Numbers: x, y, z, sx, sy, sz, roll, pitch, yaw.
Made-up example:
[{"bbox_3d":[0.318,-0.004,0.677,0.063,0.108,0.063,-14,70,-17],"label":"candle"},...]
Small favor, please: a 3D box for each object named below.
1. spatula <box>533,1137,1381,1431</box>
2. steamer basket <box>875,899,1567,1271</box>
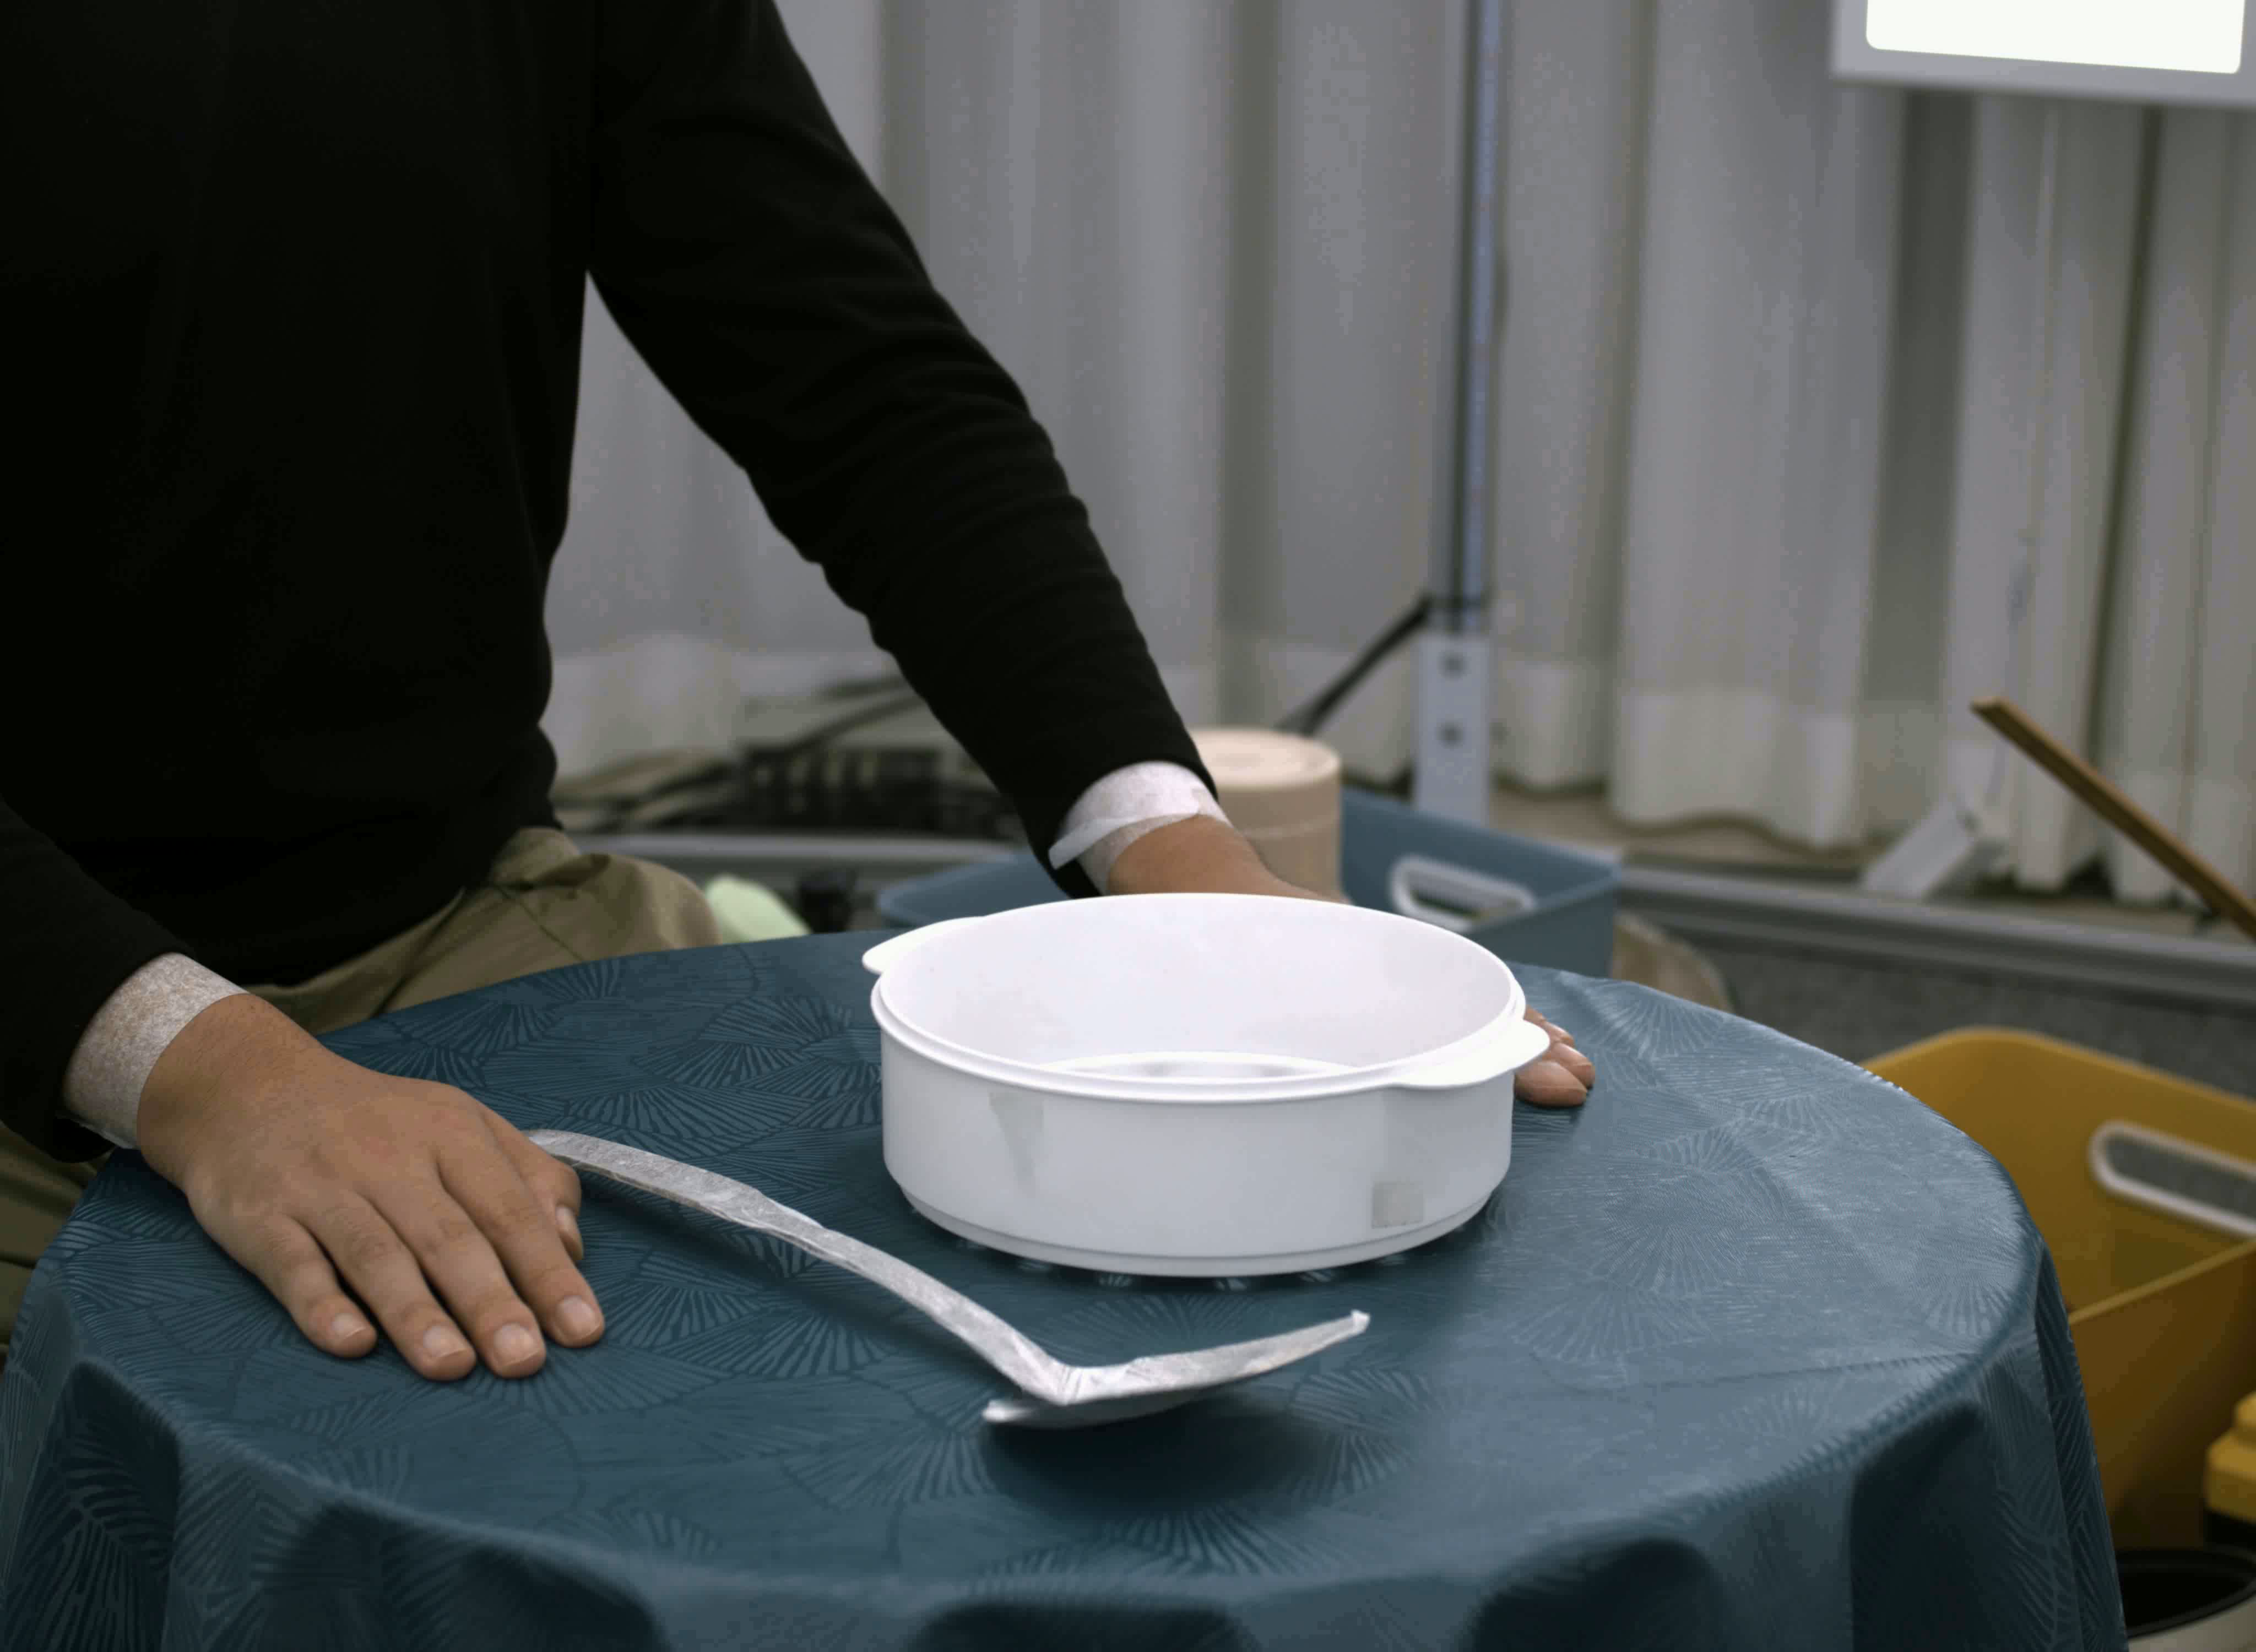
[{"bbox_3d":[-0.074,0.121,1.515,0.099,0.045,0.360,-15,21,-38],"label":"spatula"},{"bbox_3d":[0.026,0.079,1.611,0.227,0.070,0.203,10,17,34],"label":"steamer basket"}]
